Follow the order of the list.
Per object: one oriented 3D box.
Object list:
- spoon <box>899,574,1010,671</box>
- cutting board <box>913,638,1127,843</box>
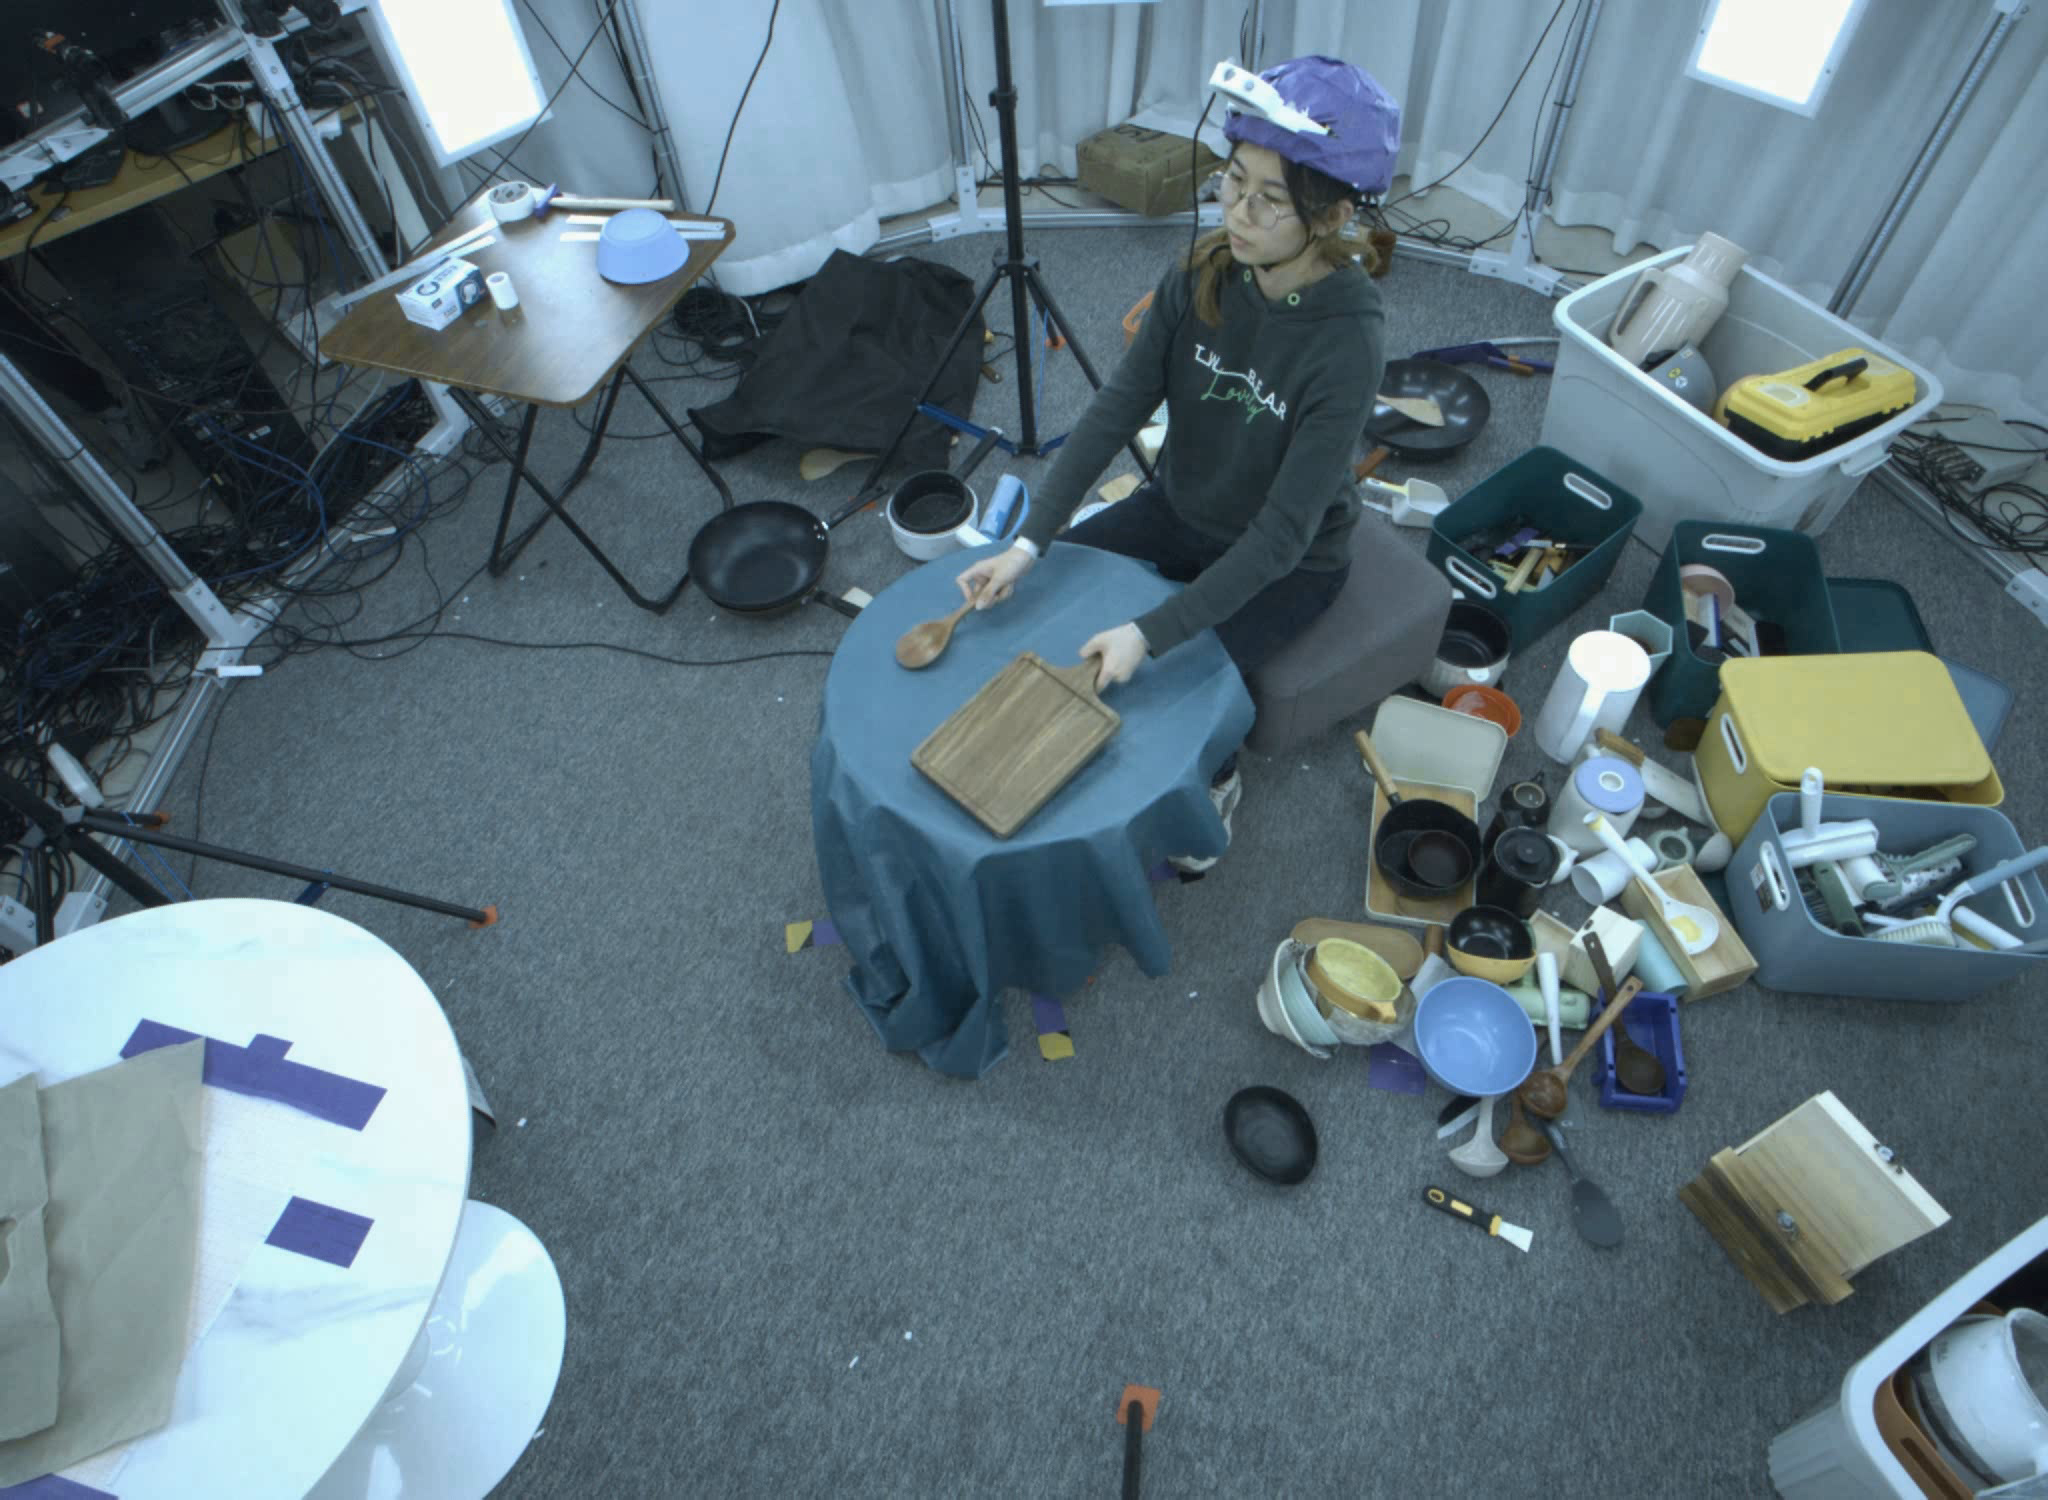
[{"bbox_3d":[-0.106,-0.198,1.905,0.216,0.017,0.074,-42,59,-7],"label":"spoon"},{"bbox_3d":[0.027,-0.041,1.777,0.197,0.023,0.354,38,70,23],"label":"cutting board"}]
